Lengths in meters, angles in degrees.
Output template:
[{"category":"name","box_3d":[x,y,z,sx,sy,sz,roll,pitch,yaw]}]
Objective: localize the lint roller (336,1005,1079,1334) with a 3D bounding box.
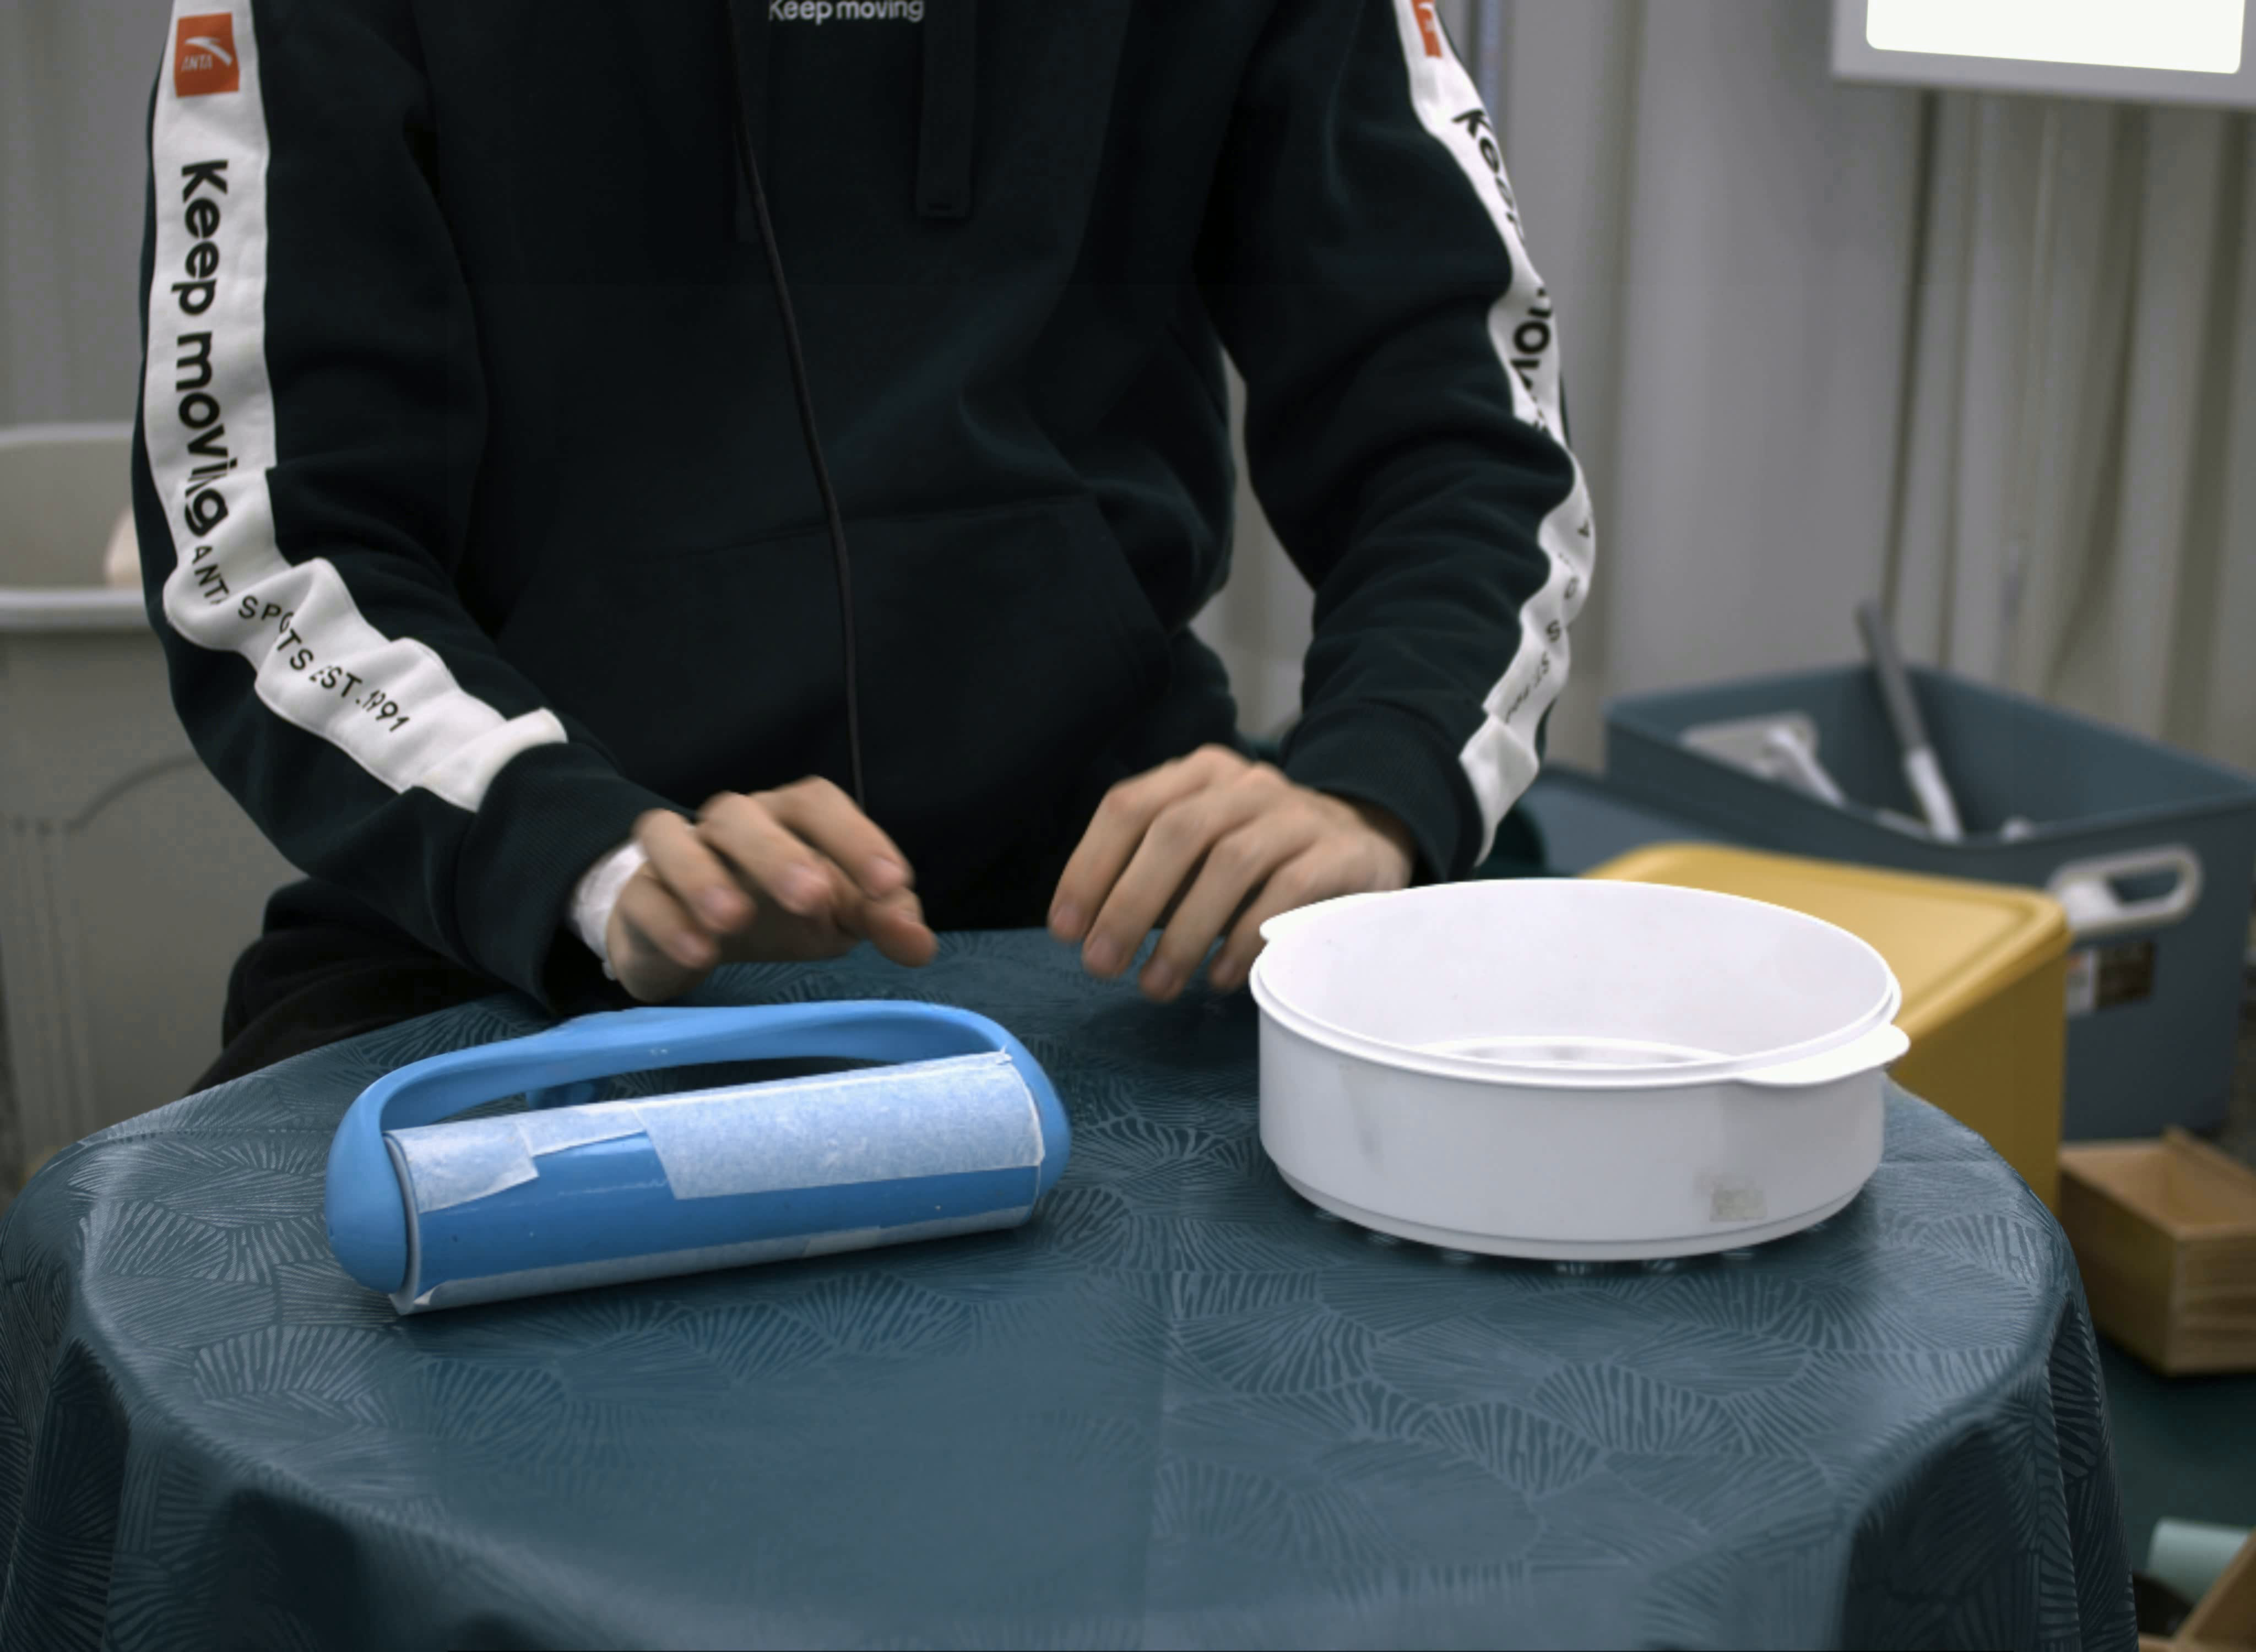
[{"category":"lint roller","box_3d":[-0.148,0.090,1.592,0.230,0.068,0.178,-10,20,-26]}]

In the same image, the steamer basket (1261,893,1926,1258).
[{"category":"steamer basket","box_3d":[0.141,0.077,1.625,0.227,0.070,0.203,14,19,43]}]
